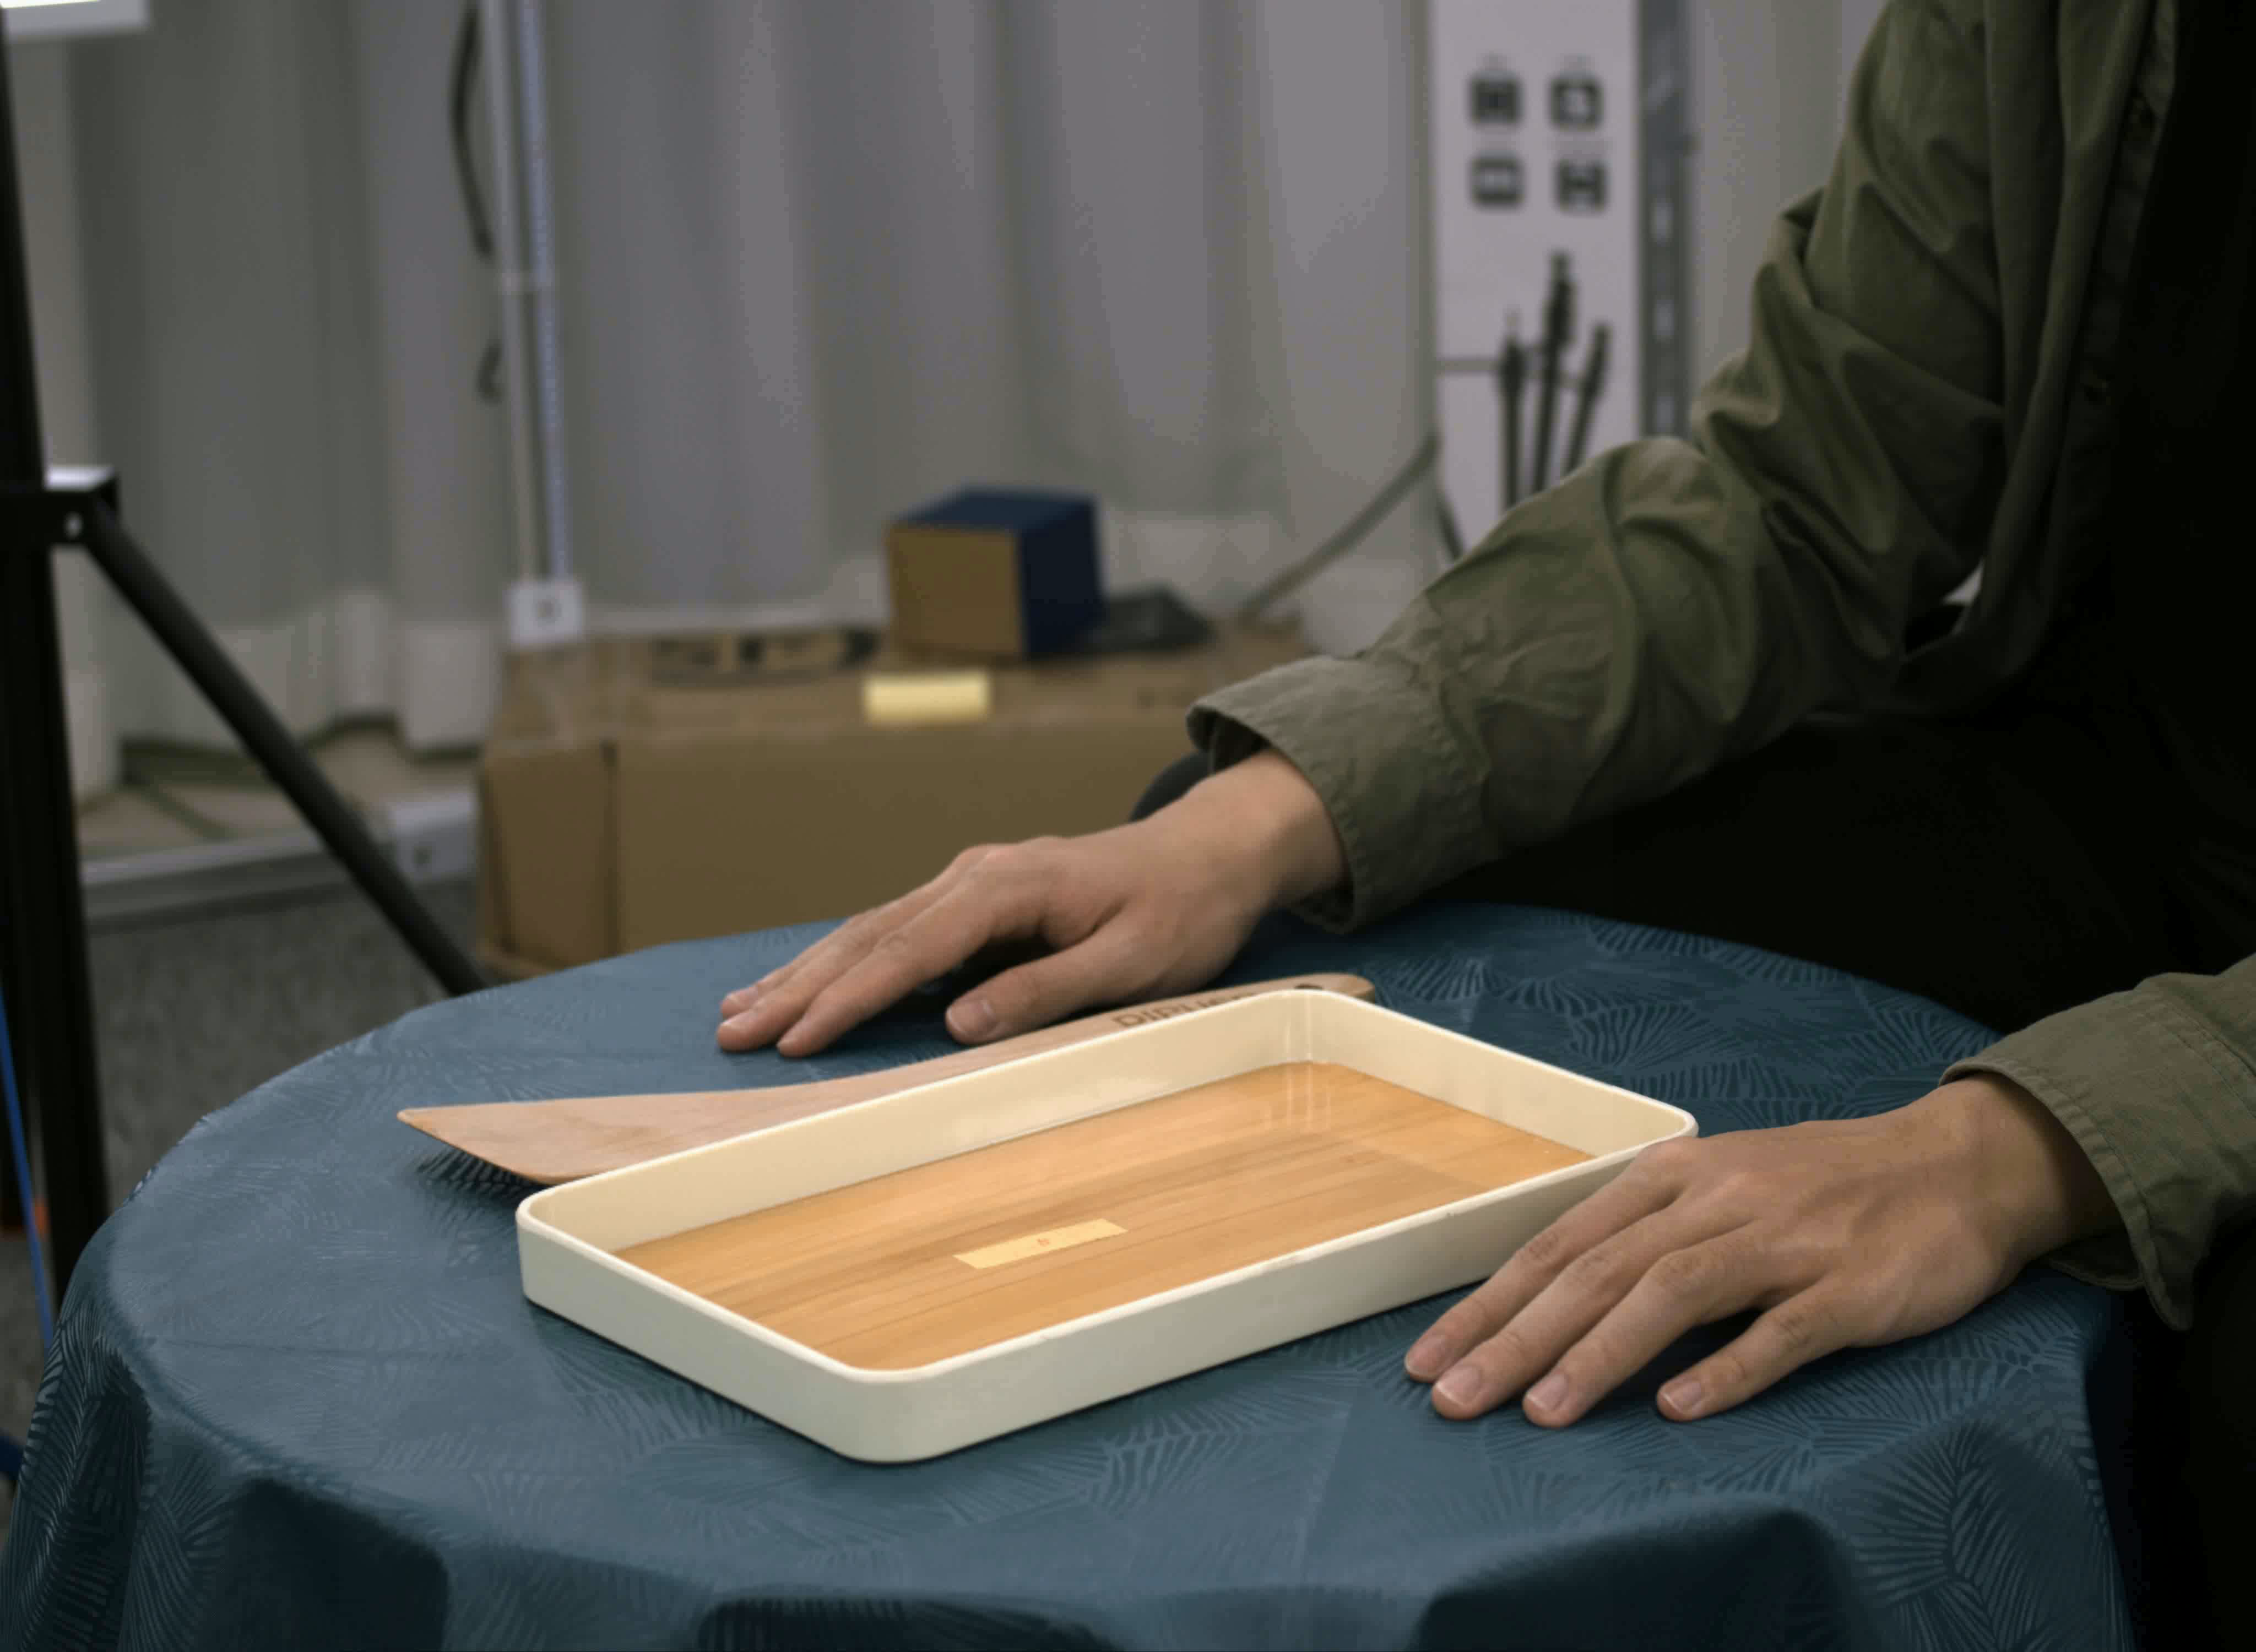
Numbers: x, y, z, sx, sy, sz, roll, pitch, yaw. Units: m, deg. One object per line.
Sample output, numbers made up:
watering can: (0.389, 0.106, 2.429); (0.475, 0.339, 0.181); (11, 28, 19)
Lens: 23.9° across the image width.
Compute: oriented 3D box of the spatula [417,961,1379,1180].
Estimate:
spatula: (-0.059, 0.073, 1.664); (0.320, 0.016, 0.081); (-11, 19, -27)

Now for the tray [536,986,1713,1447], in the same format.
tray: (0.001, 0.106, 1.517); (0.293, 0.027, 0.196); (-12, 19, -34)
